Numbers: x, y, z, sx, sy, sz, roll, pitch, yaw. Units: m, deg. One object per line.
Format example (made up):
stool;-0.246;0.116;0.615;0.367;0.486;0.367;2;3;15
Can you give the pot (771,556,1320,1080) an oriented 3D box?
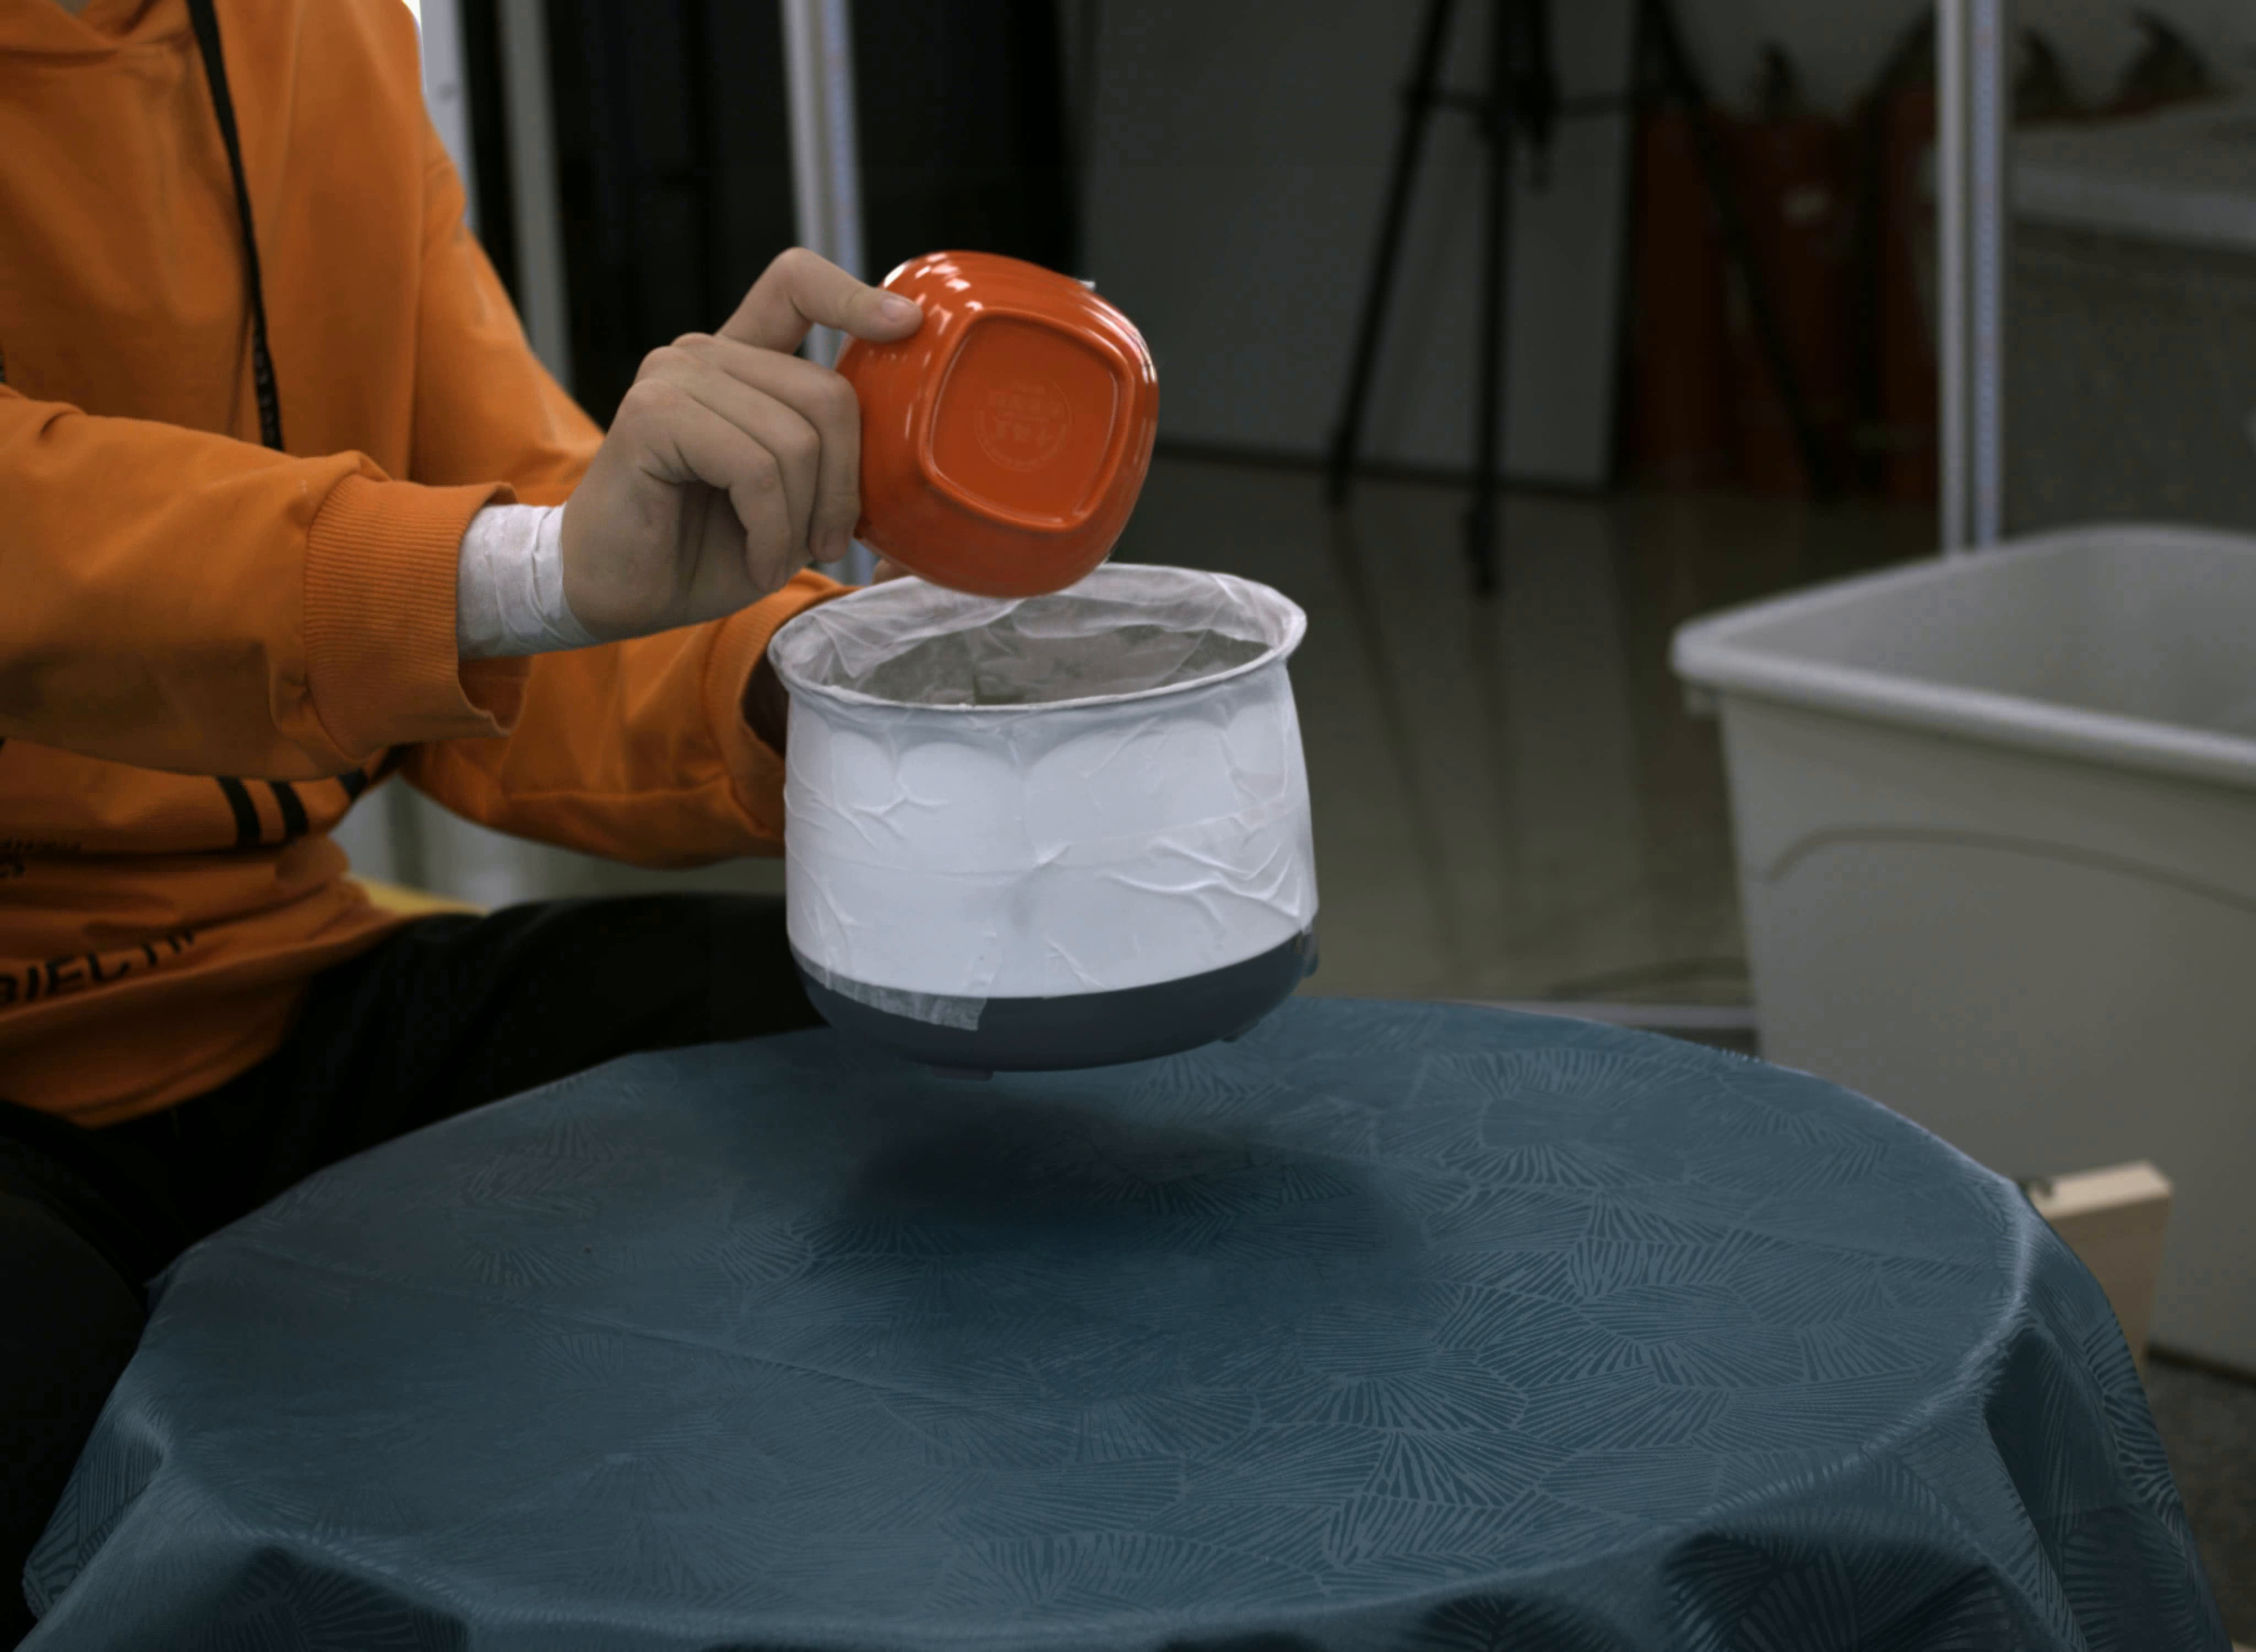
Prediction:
pot;-0.035;-0.011;1.793;0.175;0.138;0.236;-8;17;-18

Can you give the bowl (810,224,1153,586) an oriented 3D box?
bowl;-0.041;-0.135;1.724;0.116;0.120;0.052;-7;4;-14
